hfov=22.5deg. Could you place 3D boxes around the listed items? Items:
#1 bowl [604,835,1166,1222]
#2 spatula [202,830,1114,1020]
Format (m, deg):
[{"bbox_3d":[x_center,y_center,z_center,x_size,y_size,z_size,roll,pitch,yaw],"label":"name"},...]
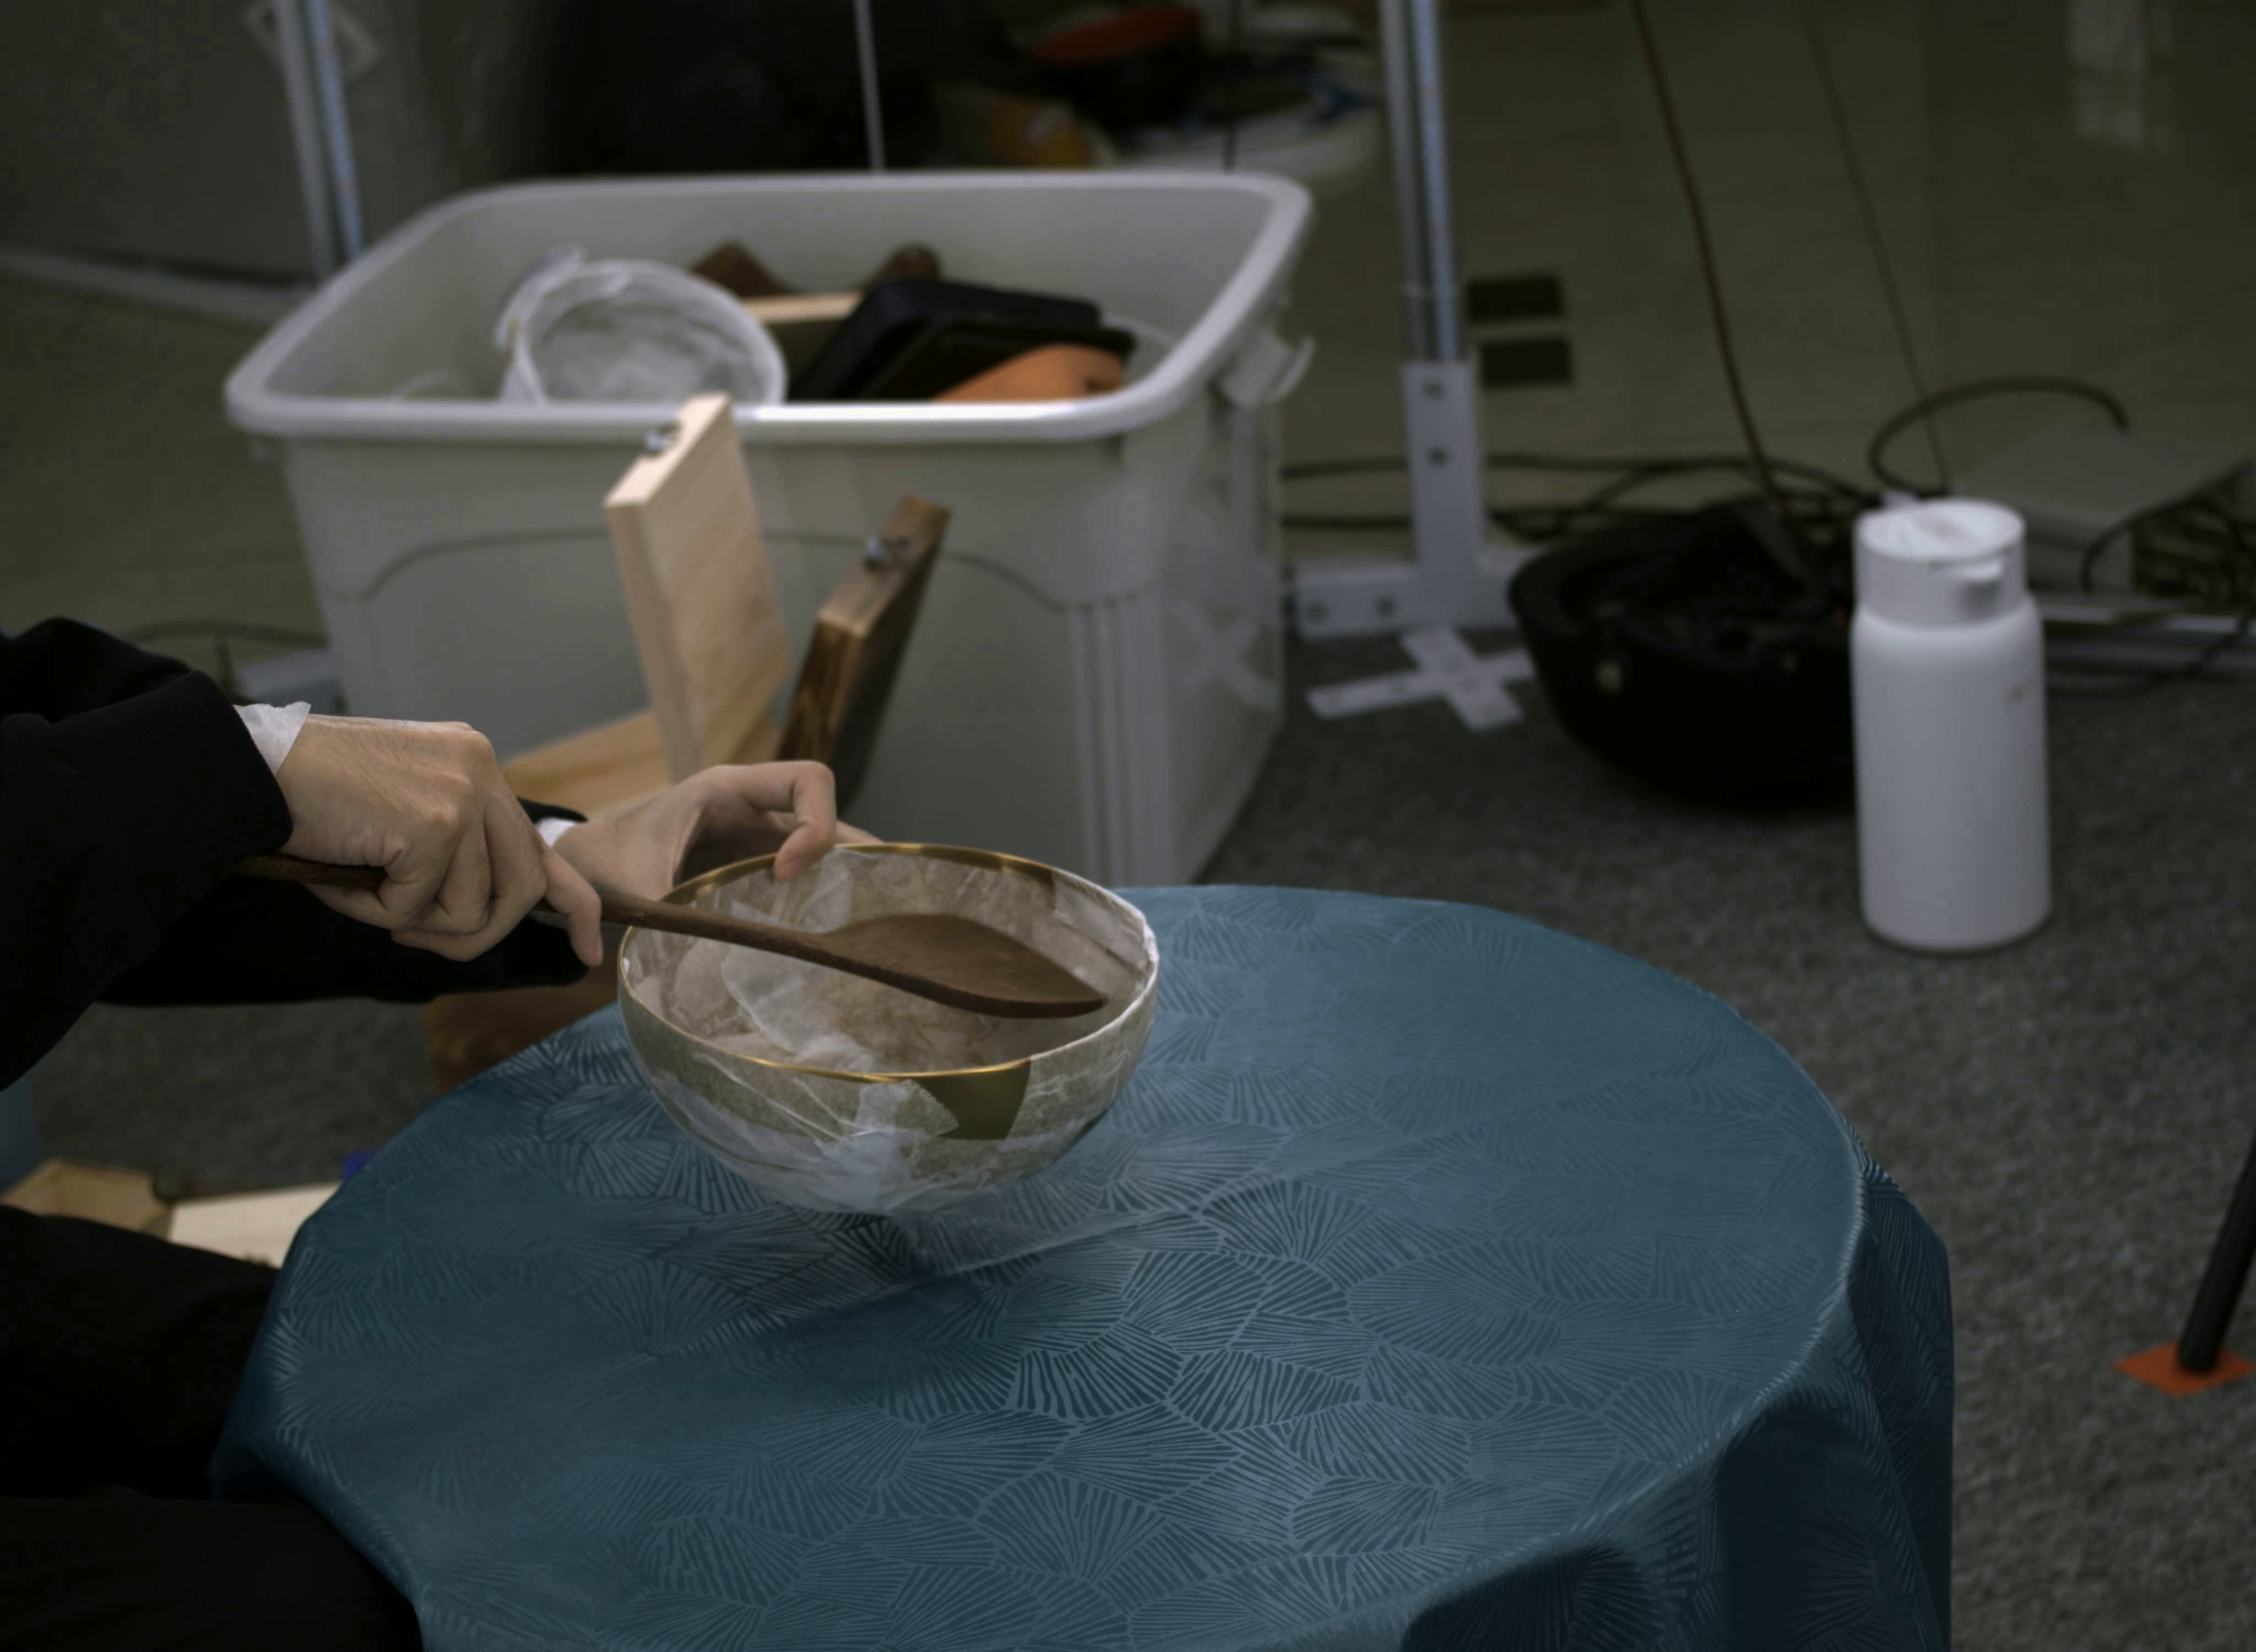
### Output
[{"bbox_3d":[-0.091,0.087,2.119,0.214,0.096,0.211,0,26,0],"label":"bowl"},{"bbox_3d":[-0.166,0.033,2.040,0.387,0.016,0.095,11,15,-41],"label":"spatula"}]
